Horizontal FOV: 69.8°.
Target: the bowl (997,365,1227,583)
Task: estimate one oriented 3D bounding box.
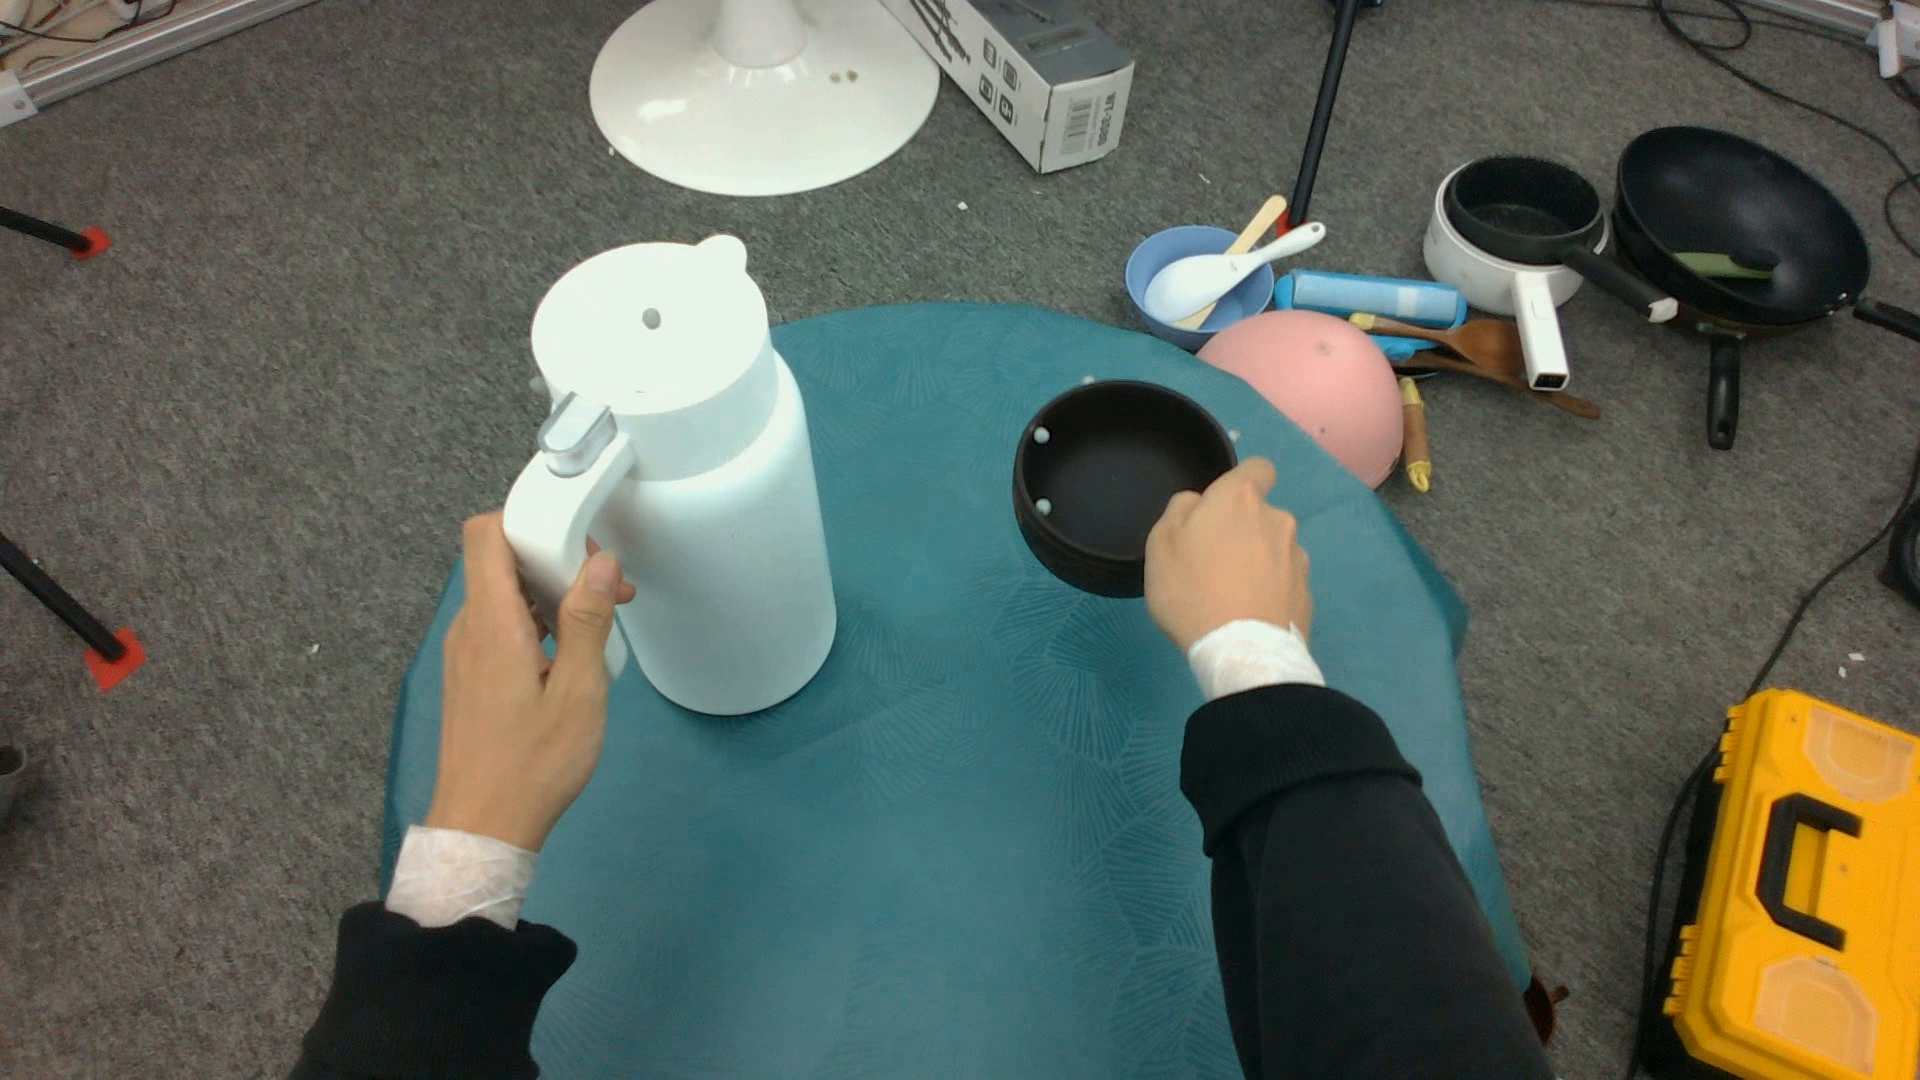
[{"bbox_3d":[0.078,-0.028,0.730,0.118,0.069,0.118,0,56,0],"label":"bowl"}]

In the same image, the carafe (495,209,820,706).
[{"bbox_3d":[-0.144,-0.012,0.685,0.124,0.267,0.173,20,58,10],"label":"carafe"}]
